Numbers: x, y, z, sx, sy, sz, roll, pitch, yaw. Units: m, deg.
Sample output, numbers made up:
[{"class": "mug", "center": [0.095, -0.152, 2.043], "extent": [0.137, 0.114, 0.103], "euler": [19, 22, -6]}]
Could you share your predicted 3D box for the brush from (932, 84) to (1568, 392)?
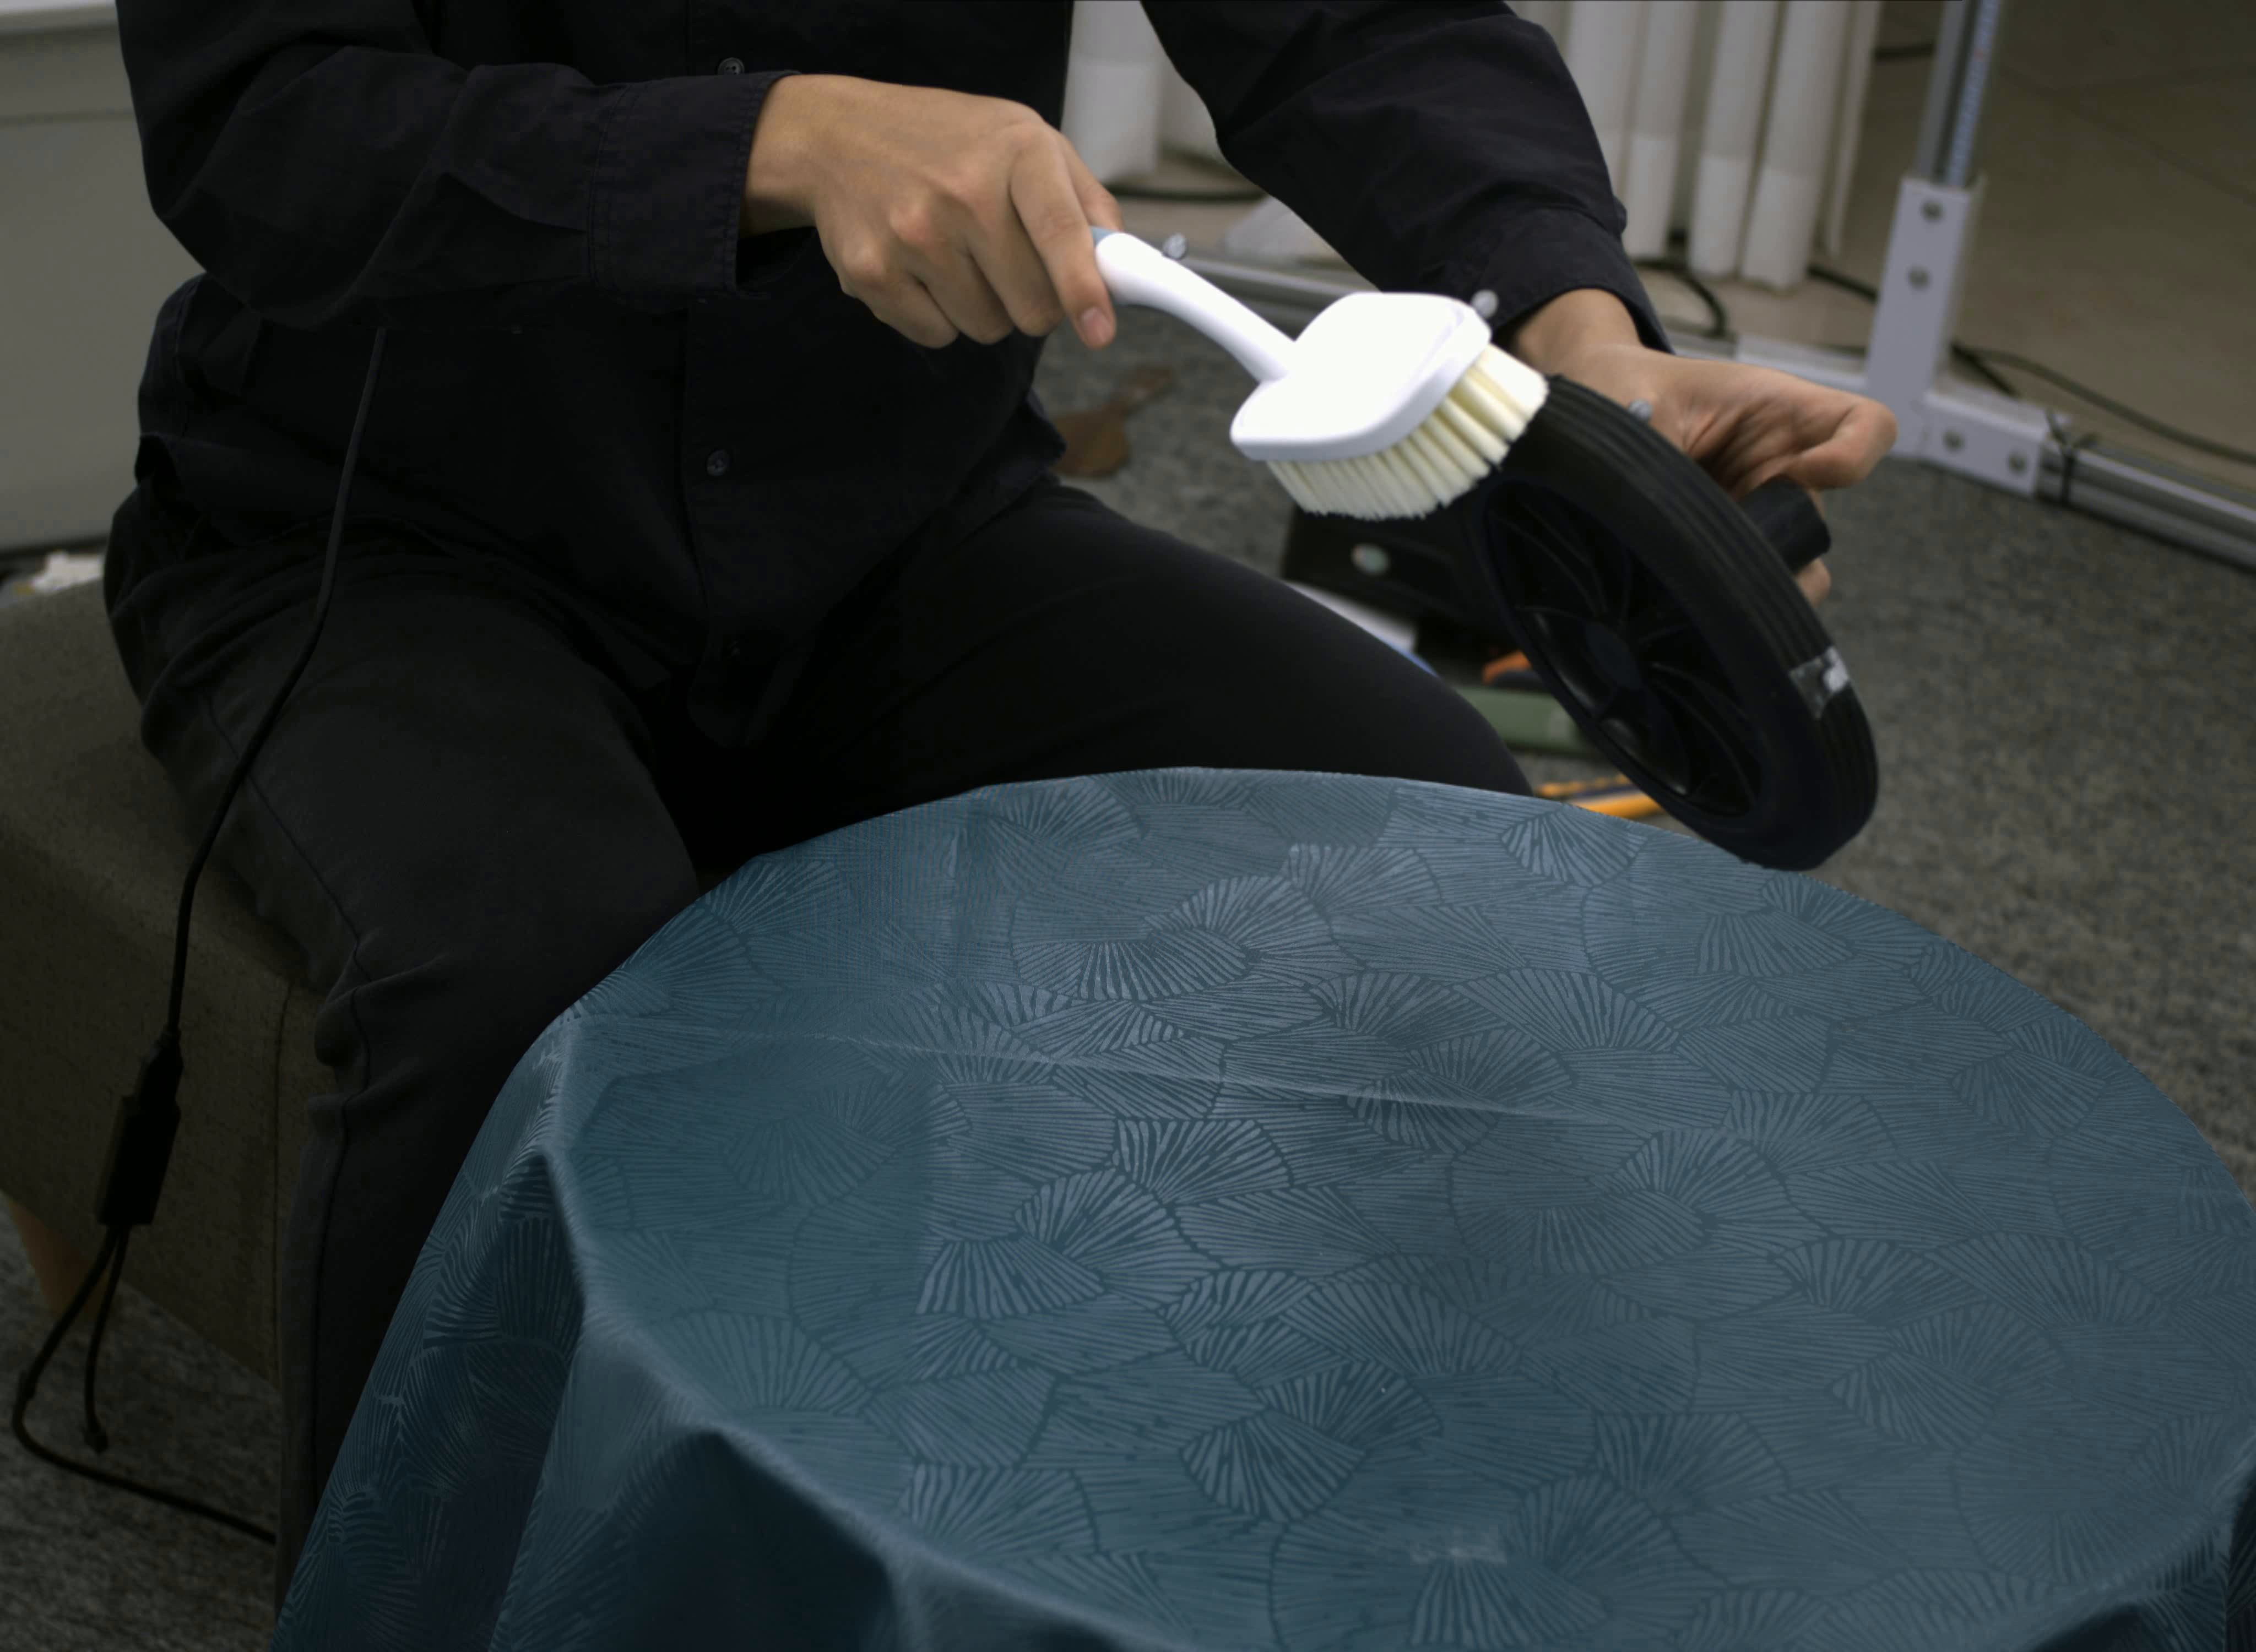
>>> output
[{"class": "brush", "center": [0.046, -0.202, 1.819], "extent": [0.082, 0.084, 0.328], "euler": [-19, 23, -30]}]

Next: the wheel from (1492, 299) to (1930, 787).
[{"class": "wheel", "center": [0.207, -0.105, 1.765], "extent": [0.079, 0.186, 0.191], "euler": [-39, 58, -16]}]
